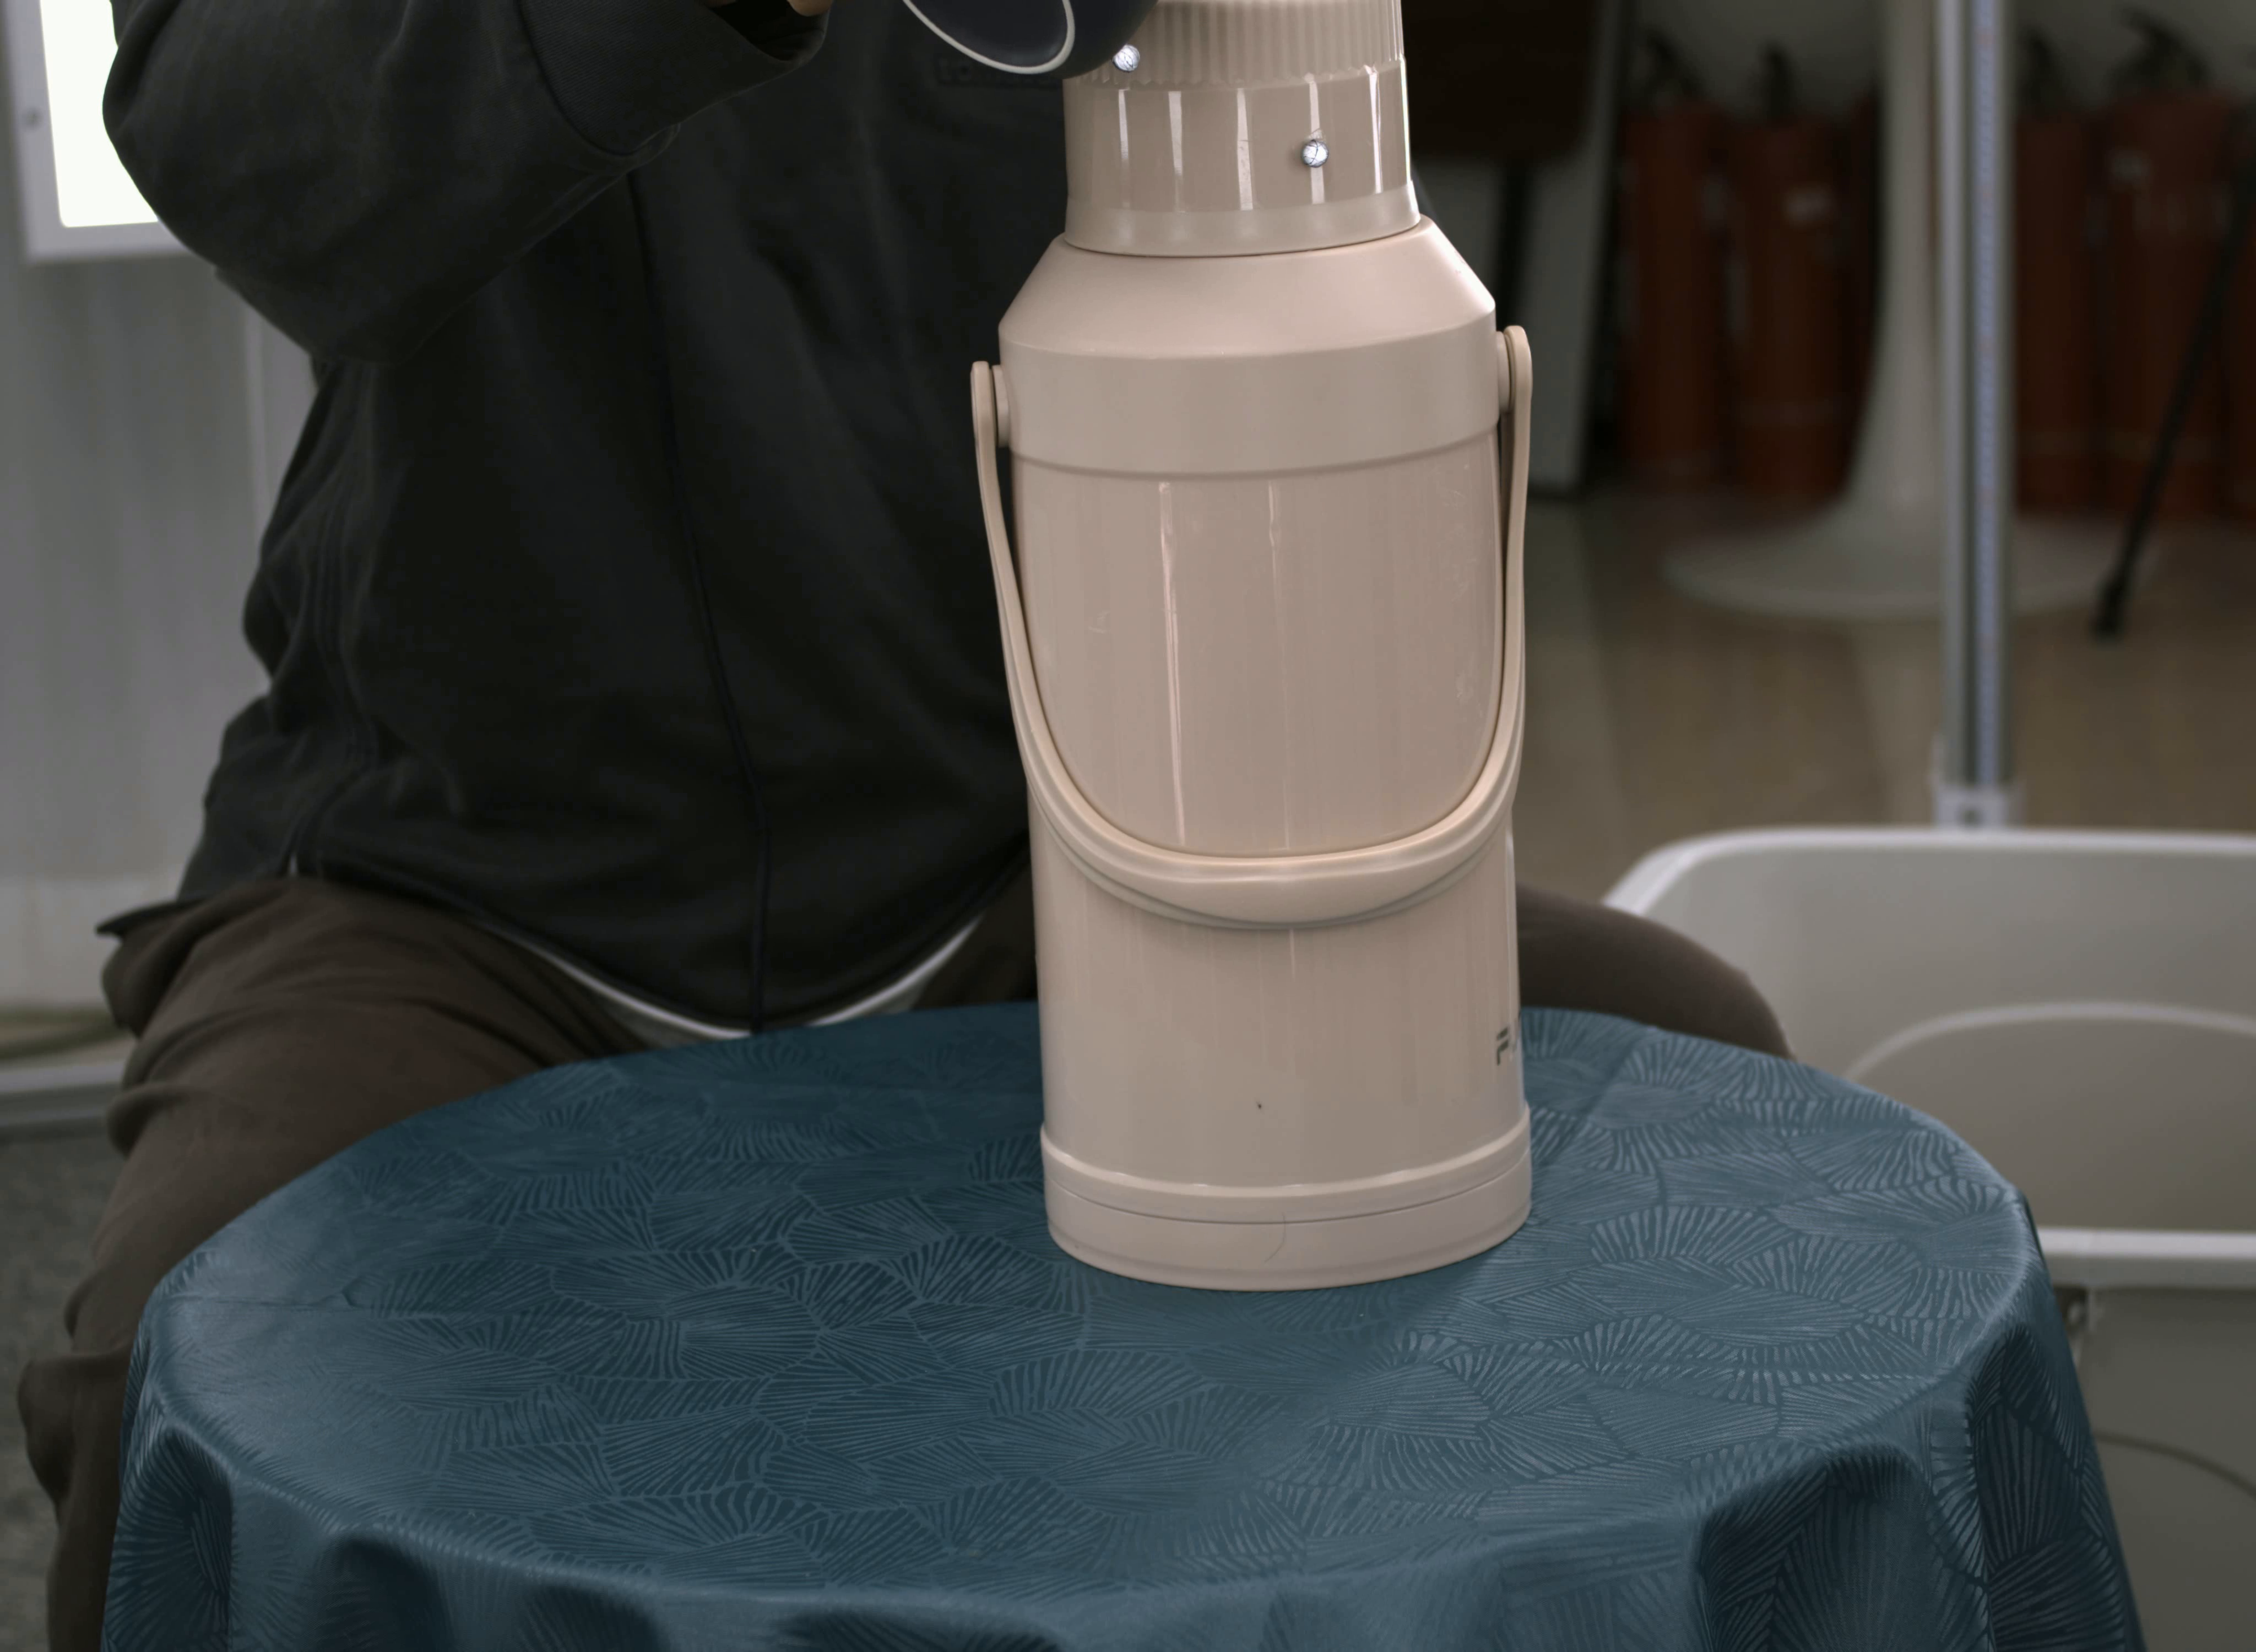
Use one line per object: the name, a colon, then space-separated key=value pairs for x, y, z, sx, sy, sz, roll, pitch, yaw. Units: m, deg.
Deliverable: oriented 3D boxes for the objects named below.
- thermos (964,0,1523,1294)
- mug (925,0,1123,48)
thermos: x=0.039 y=-0.072 z=1.710 sx=0.173 sy=0.411 sz=0.208 roll=-5 pitch=13 yaw=-4
mug: x=-0.035 y=-0.286 z=1.582 sx=0.124 sy=0.093 sz=0.089 roll=10 pitch=52 yaw=42
